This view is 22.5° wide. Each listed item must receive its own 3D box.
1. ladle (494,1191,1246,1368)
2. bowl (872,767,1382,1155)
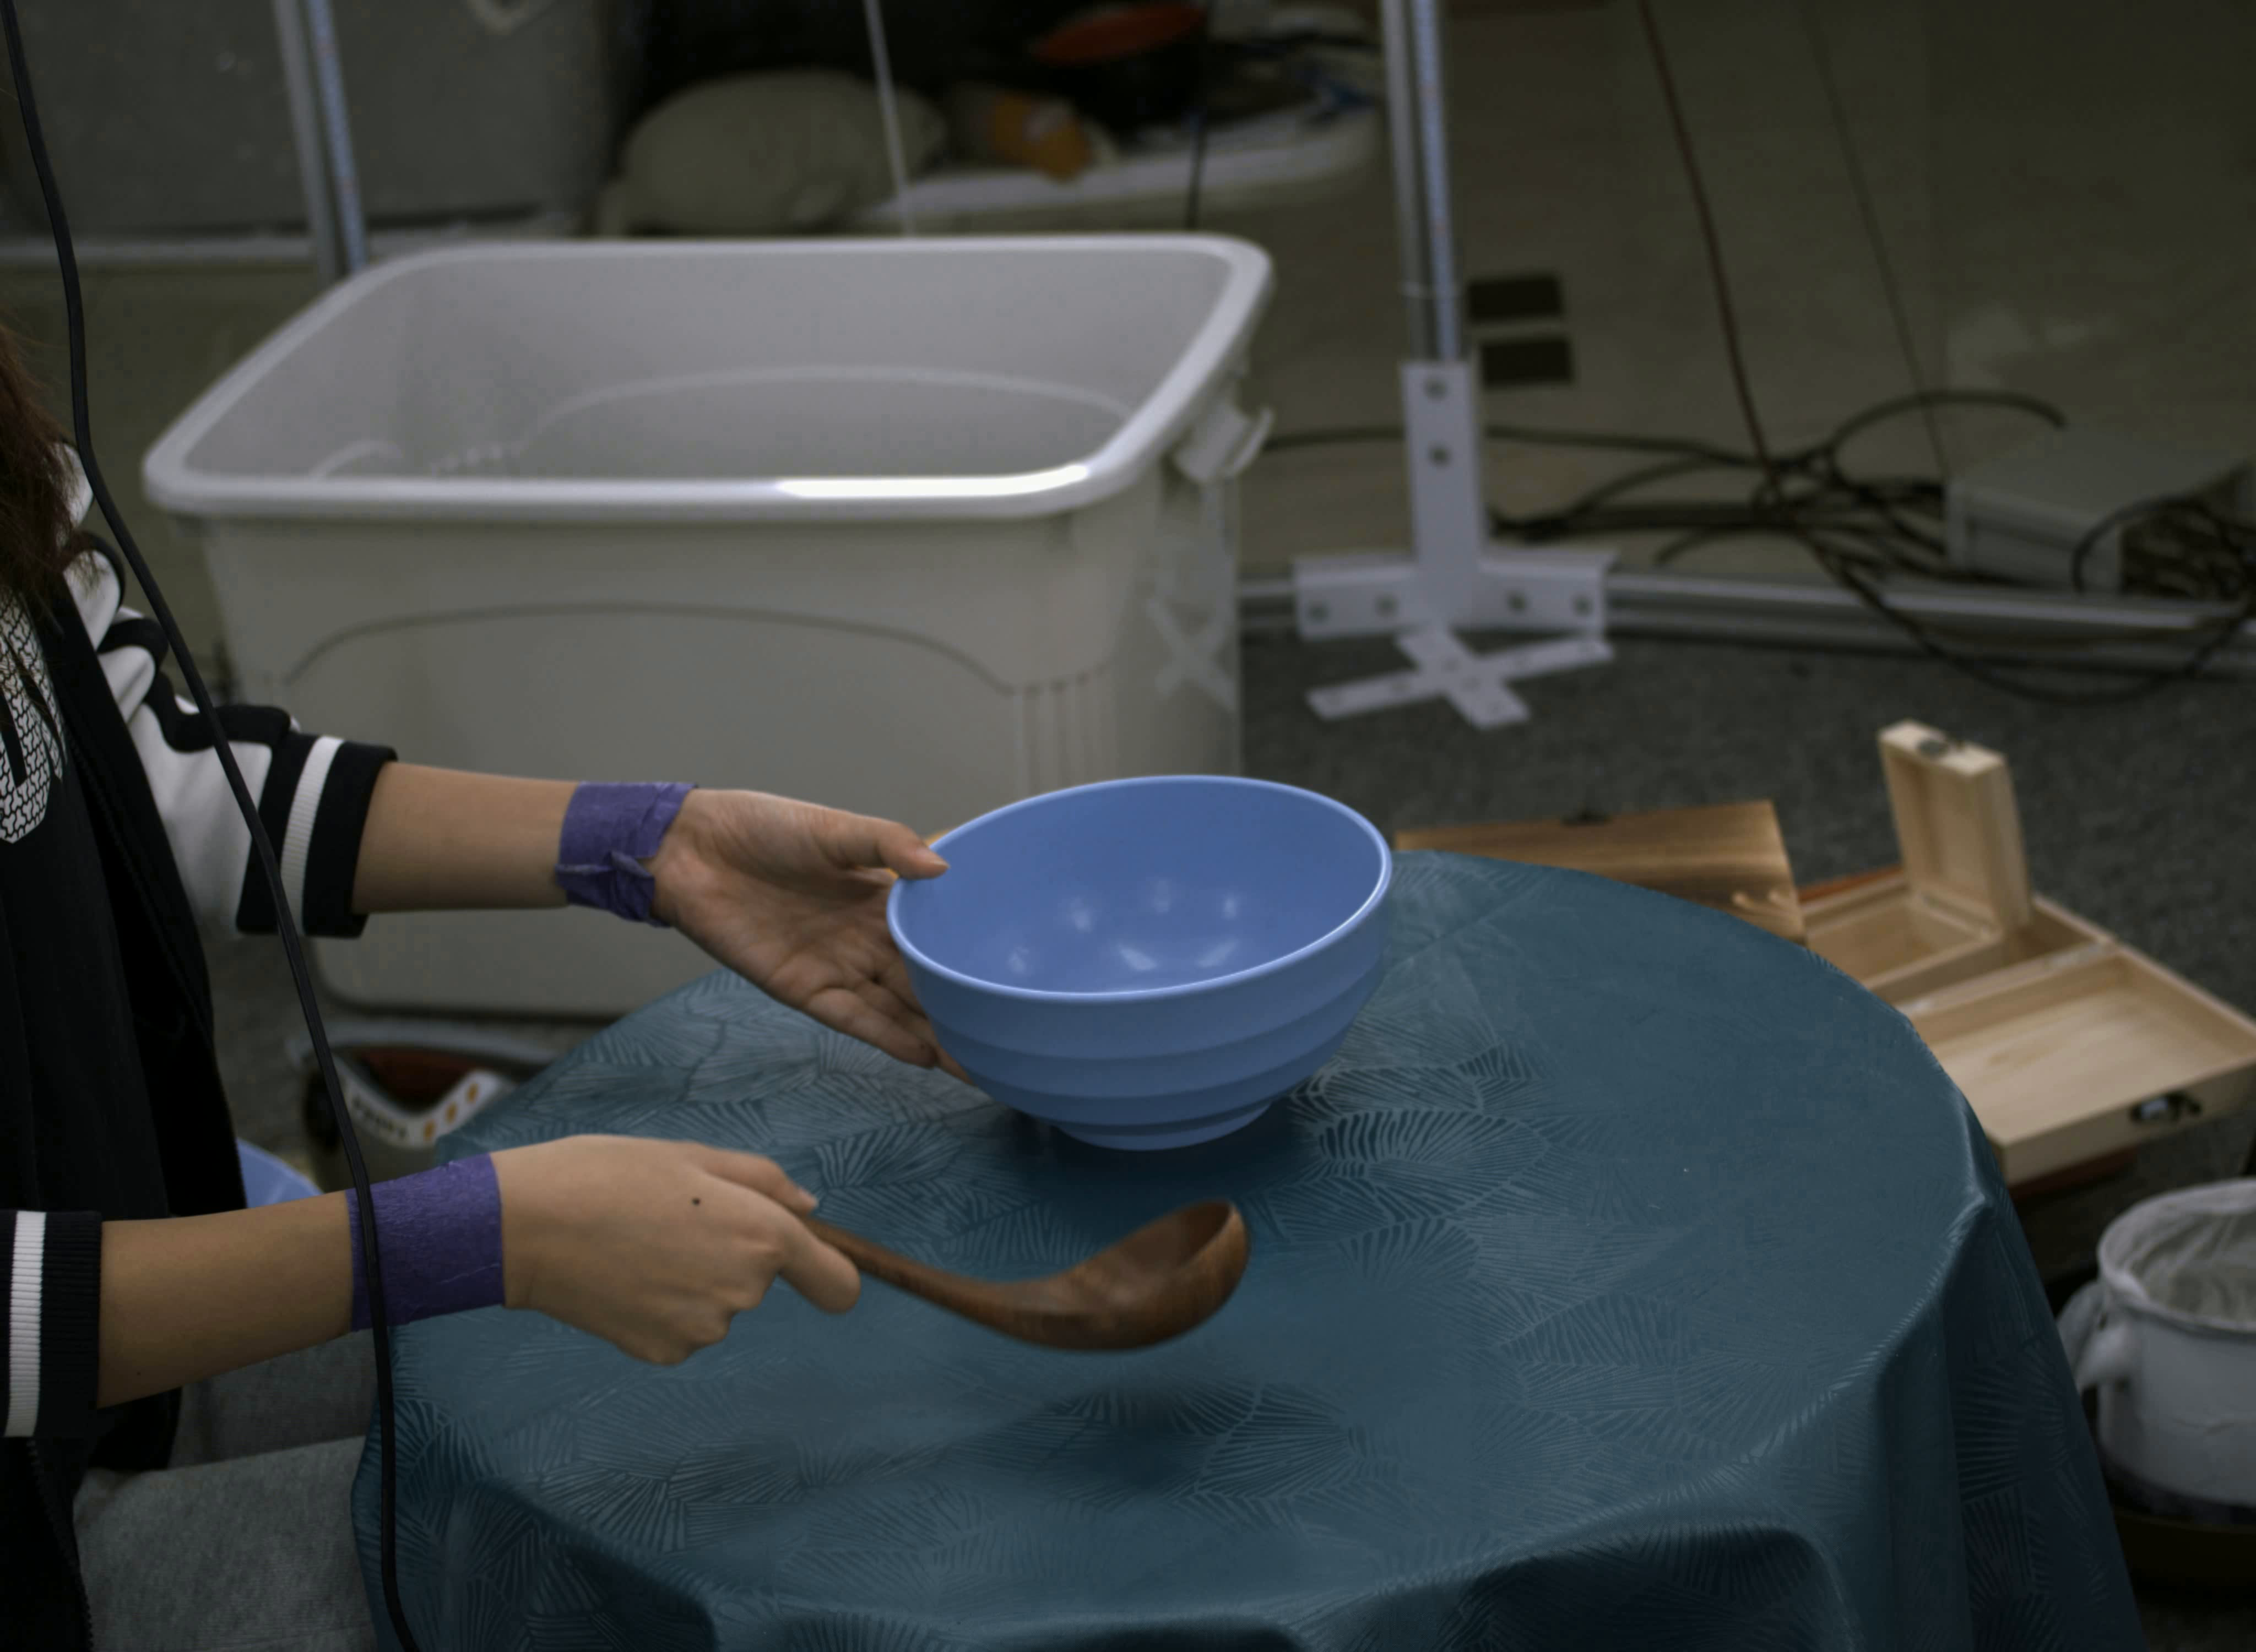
[{"bbox_3d":[-0.088,0.141,1.972,0.260,0.065,0.076,13,8,-2],"label":"ladle"},{"bbox_3d":[0.001,0.063,2.198,0.196,0.097,0.193,-2,30,1],"label":"bowl"}]
